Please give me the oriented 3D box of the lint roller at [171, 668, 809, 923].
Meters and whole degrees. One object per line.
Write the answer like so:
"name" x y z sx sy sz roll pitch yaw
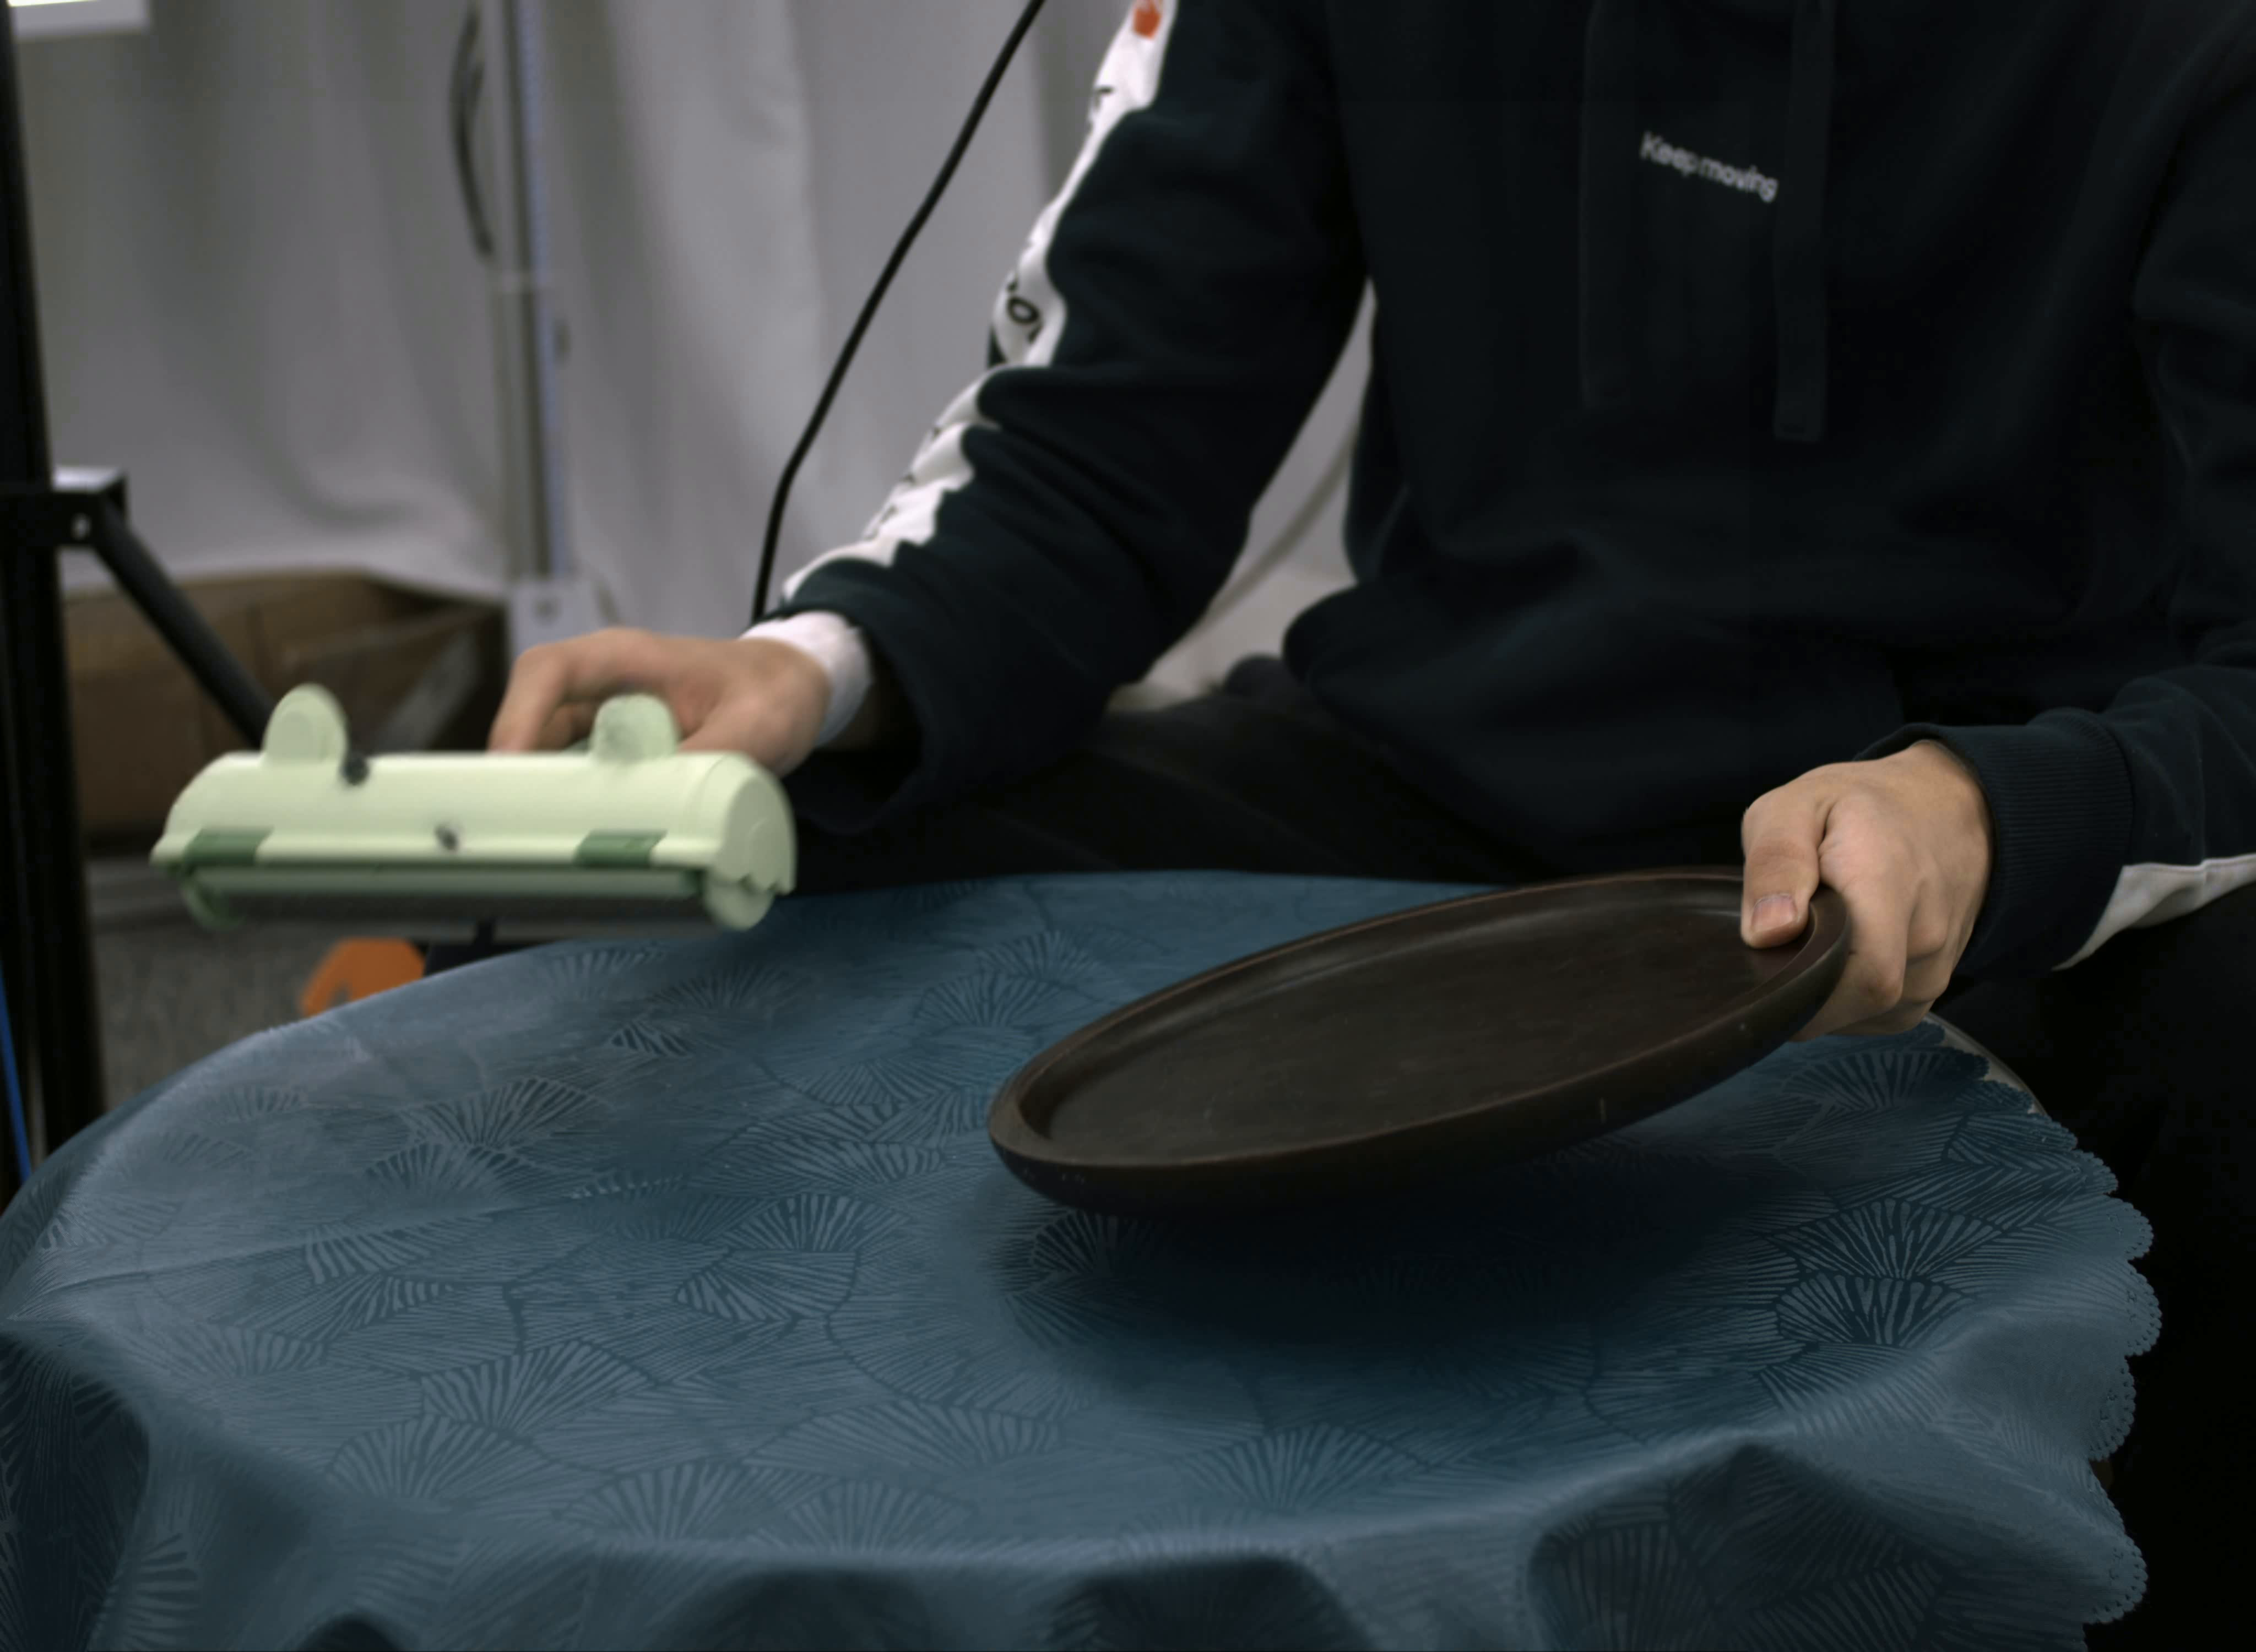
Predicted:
"lint roller" -0.177 -0.026 1.689 0.201 0.082 0.181 0 21 24

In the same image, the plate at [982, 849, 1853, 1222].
"plate" 0.083 0.060 1.504 0.254 0.029 0.256 -16 11 1
